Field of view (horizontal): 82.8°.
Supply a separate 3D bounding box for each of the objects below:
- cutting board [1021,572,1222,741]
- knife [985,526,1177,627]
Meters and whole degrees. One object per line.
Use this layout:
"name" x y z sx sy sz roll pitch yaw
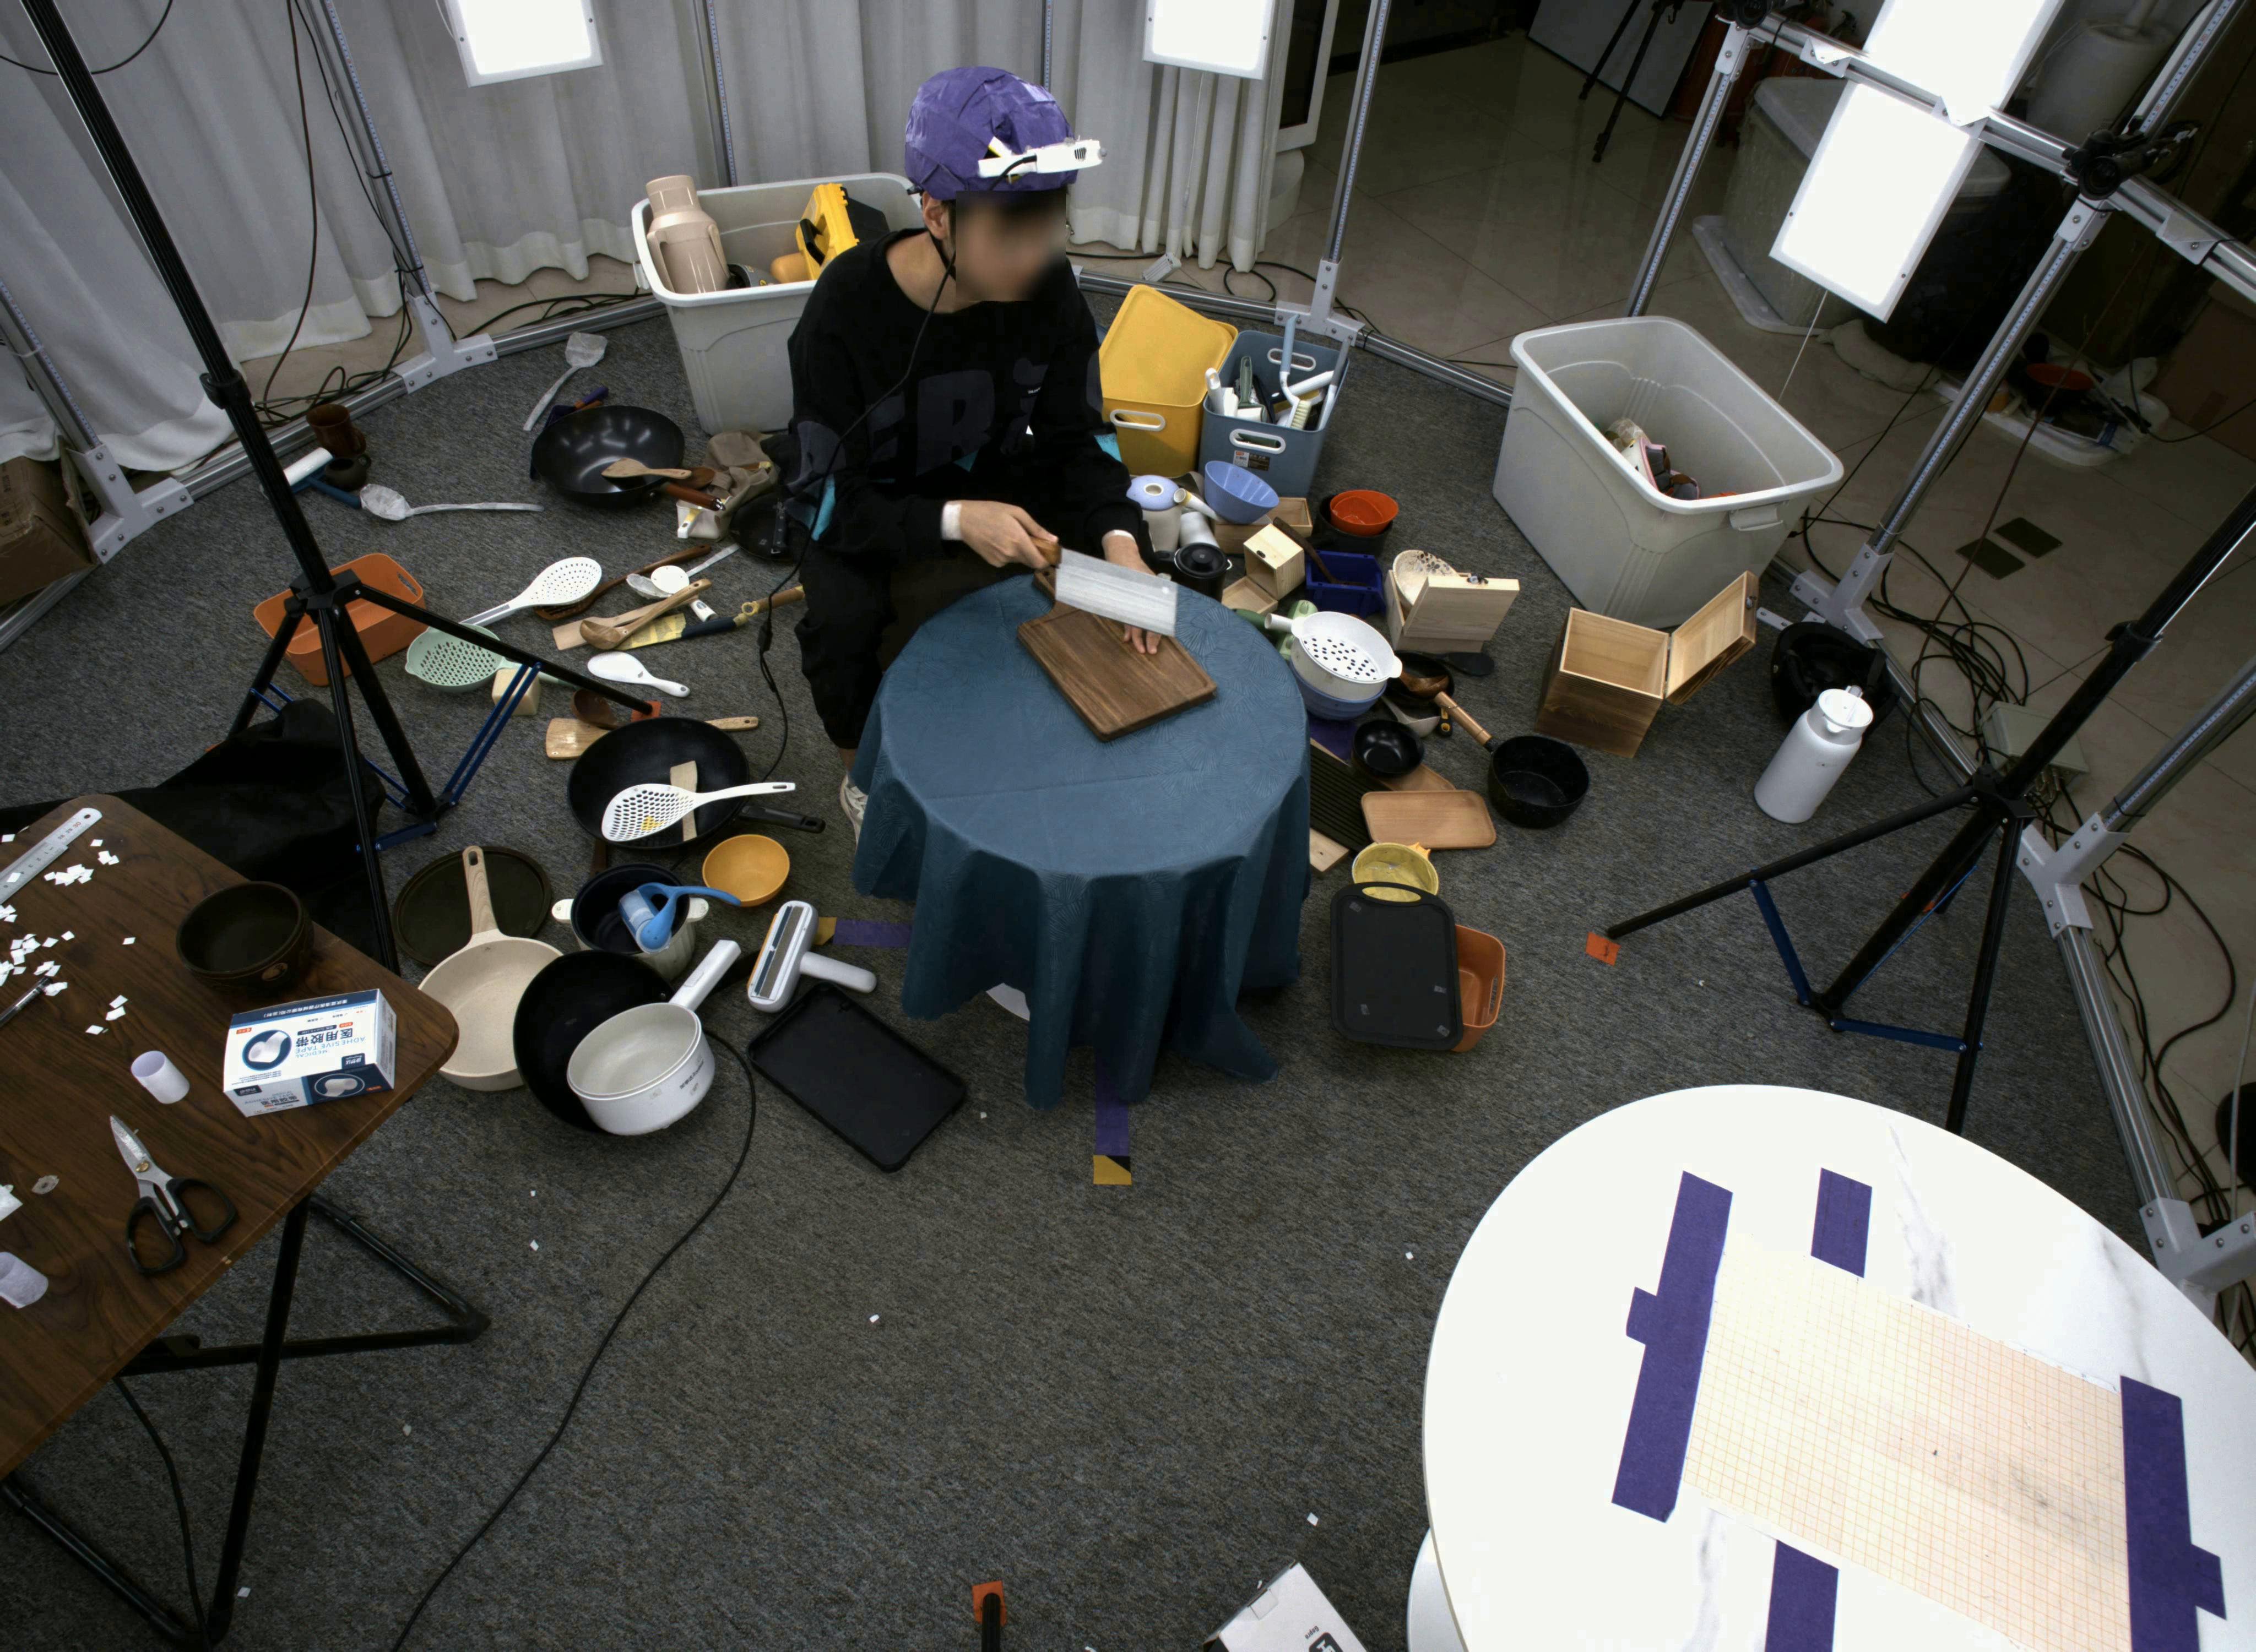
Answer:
"cutting board" -0.037 -0.270 1.892 0.202 0.022 0.359 -22 52 -23
"knife" -0.068 -0.346 1.806 0.308 0.090 0.021 21 44 21
